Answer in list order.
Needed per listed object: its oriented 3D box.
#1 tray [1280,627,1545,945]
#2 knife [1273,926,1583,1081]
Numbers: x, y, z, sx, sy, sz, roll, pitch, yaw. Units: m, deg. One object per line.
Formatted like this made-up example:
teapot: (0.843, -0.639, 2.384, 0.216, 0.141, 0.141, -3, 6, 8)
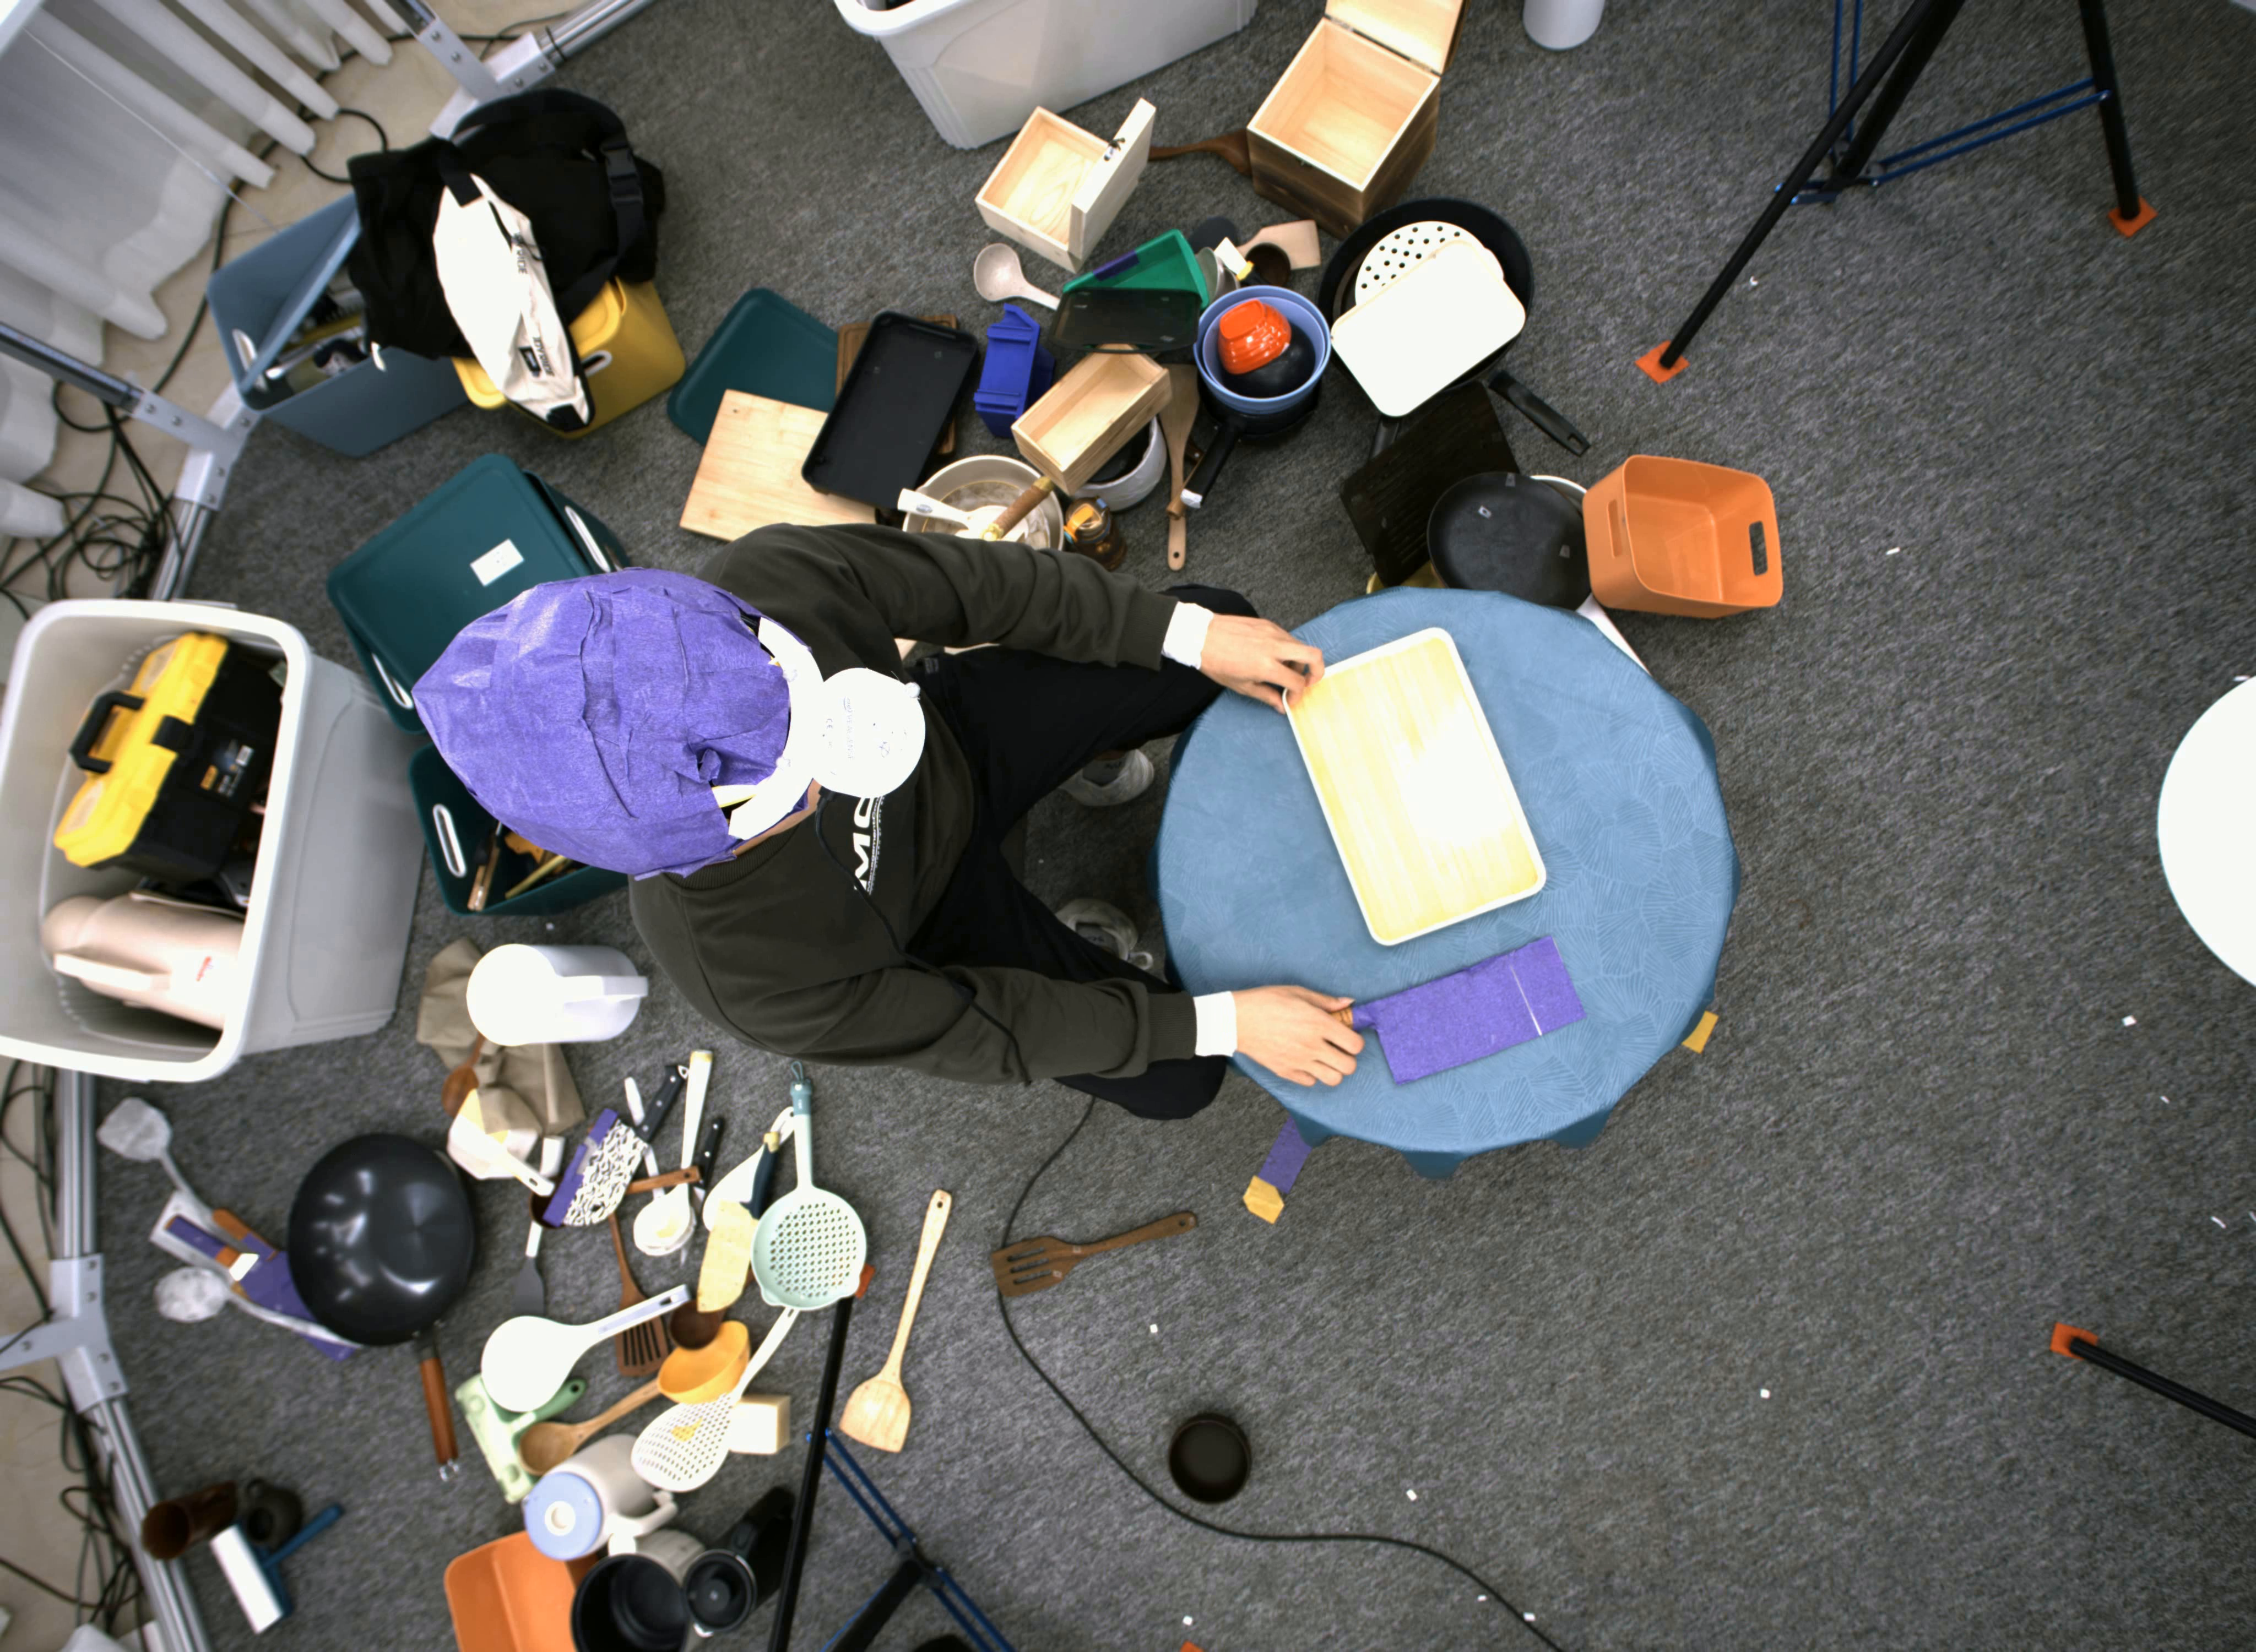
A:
tray: (0.296, -0.044, 1.447, 0.193, 0.027, 0.298, -21, 83, 9)
knife: (0.311, 0.205, 1.431, 0.317, 0.032, 0.103, -22, 83, 8)
